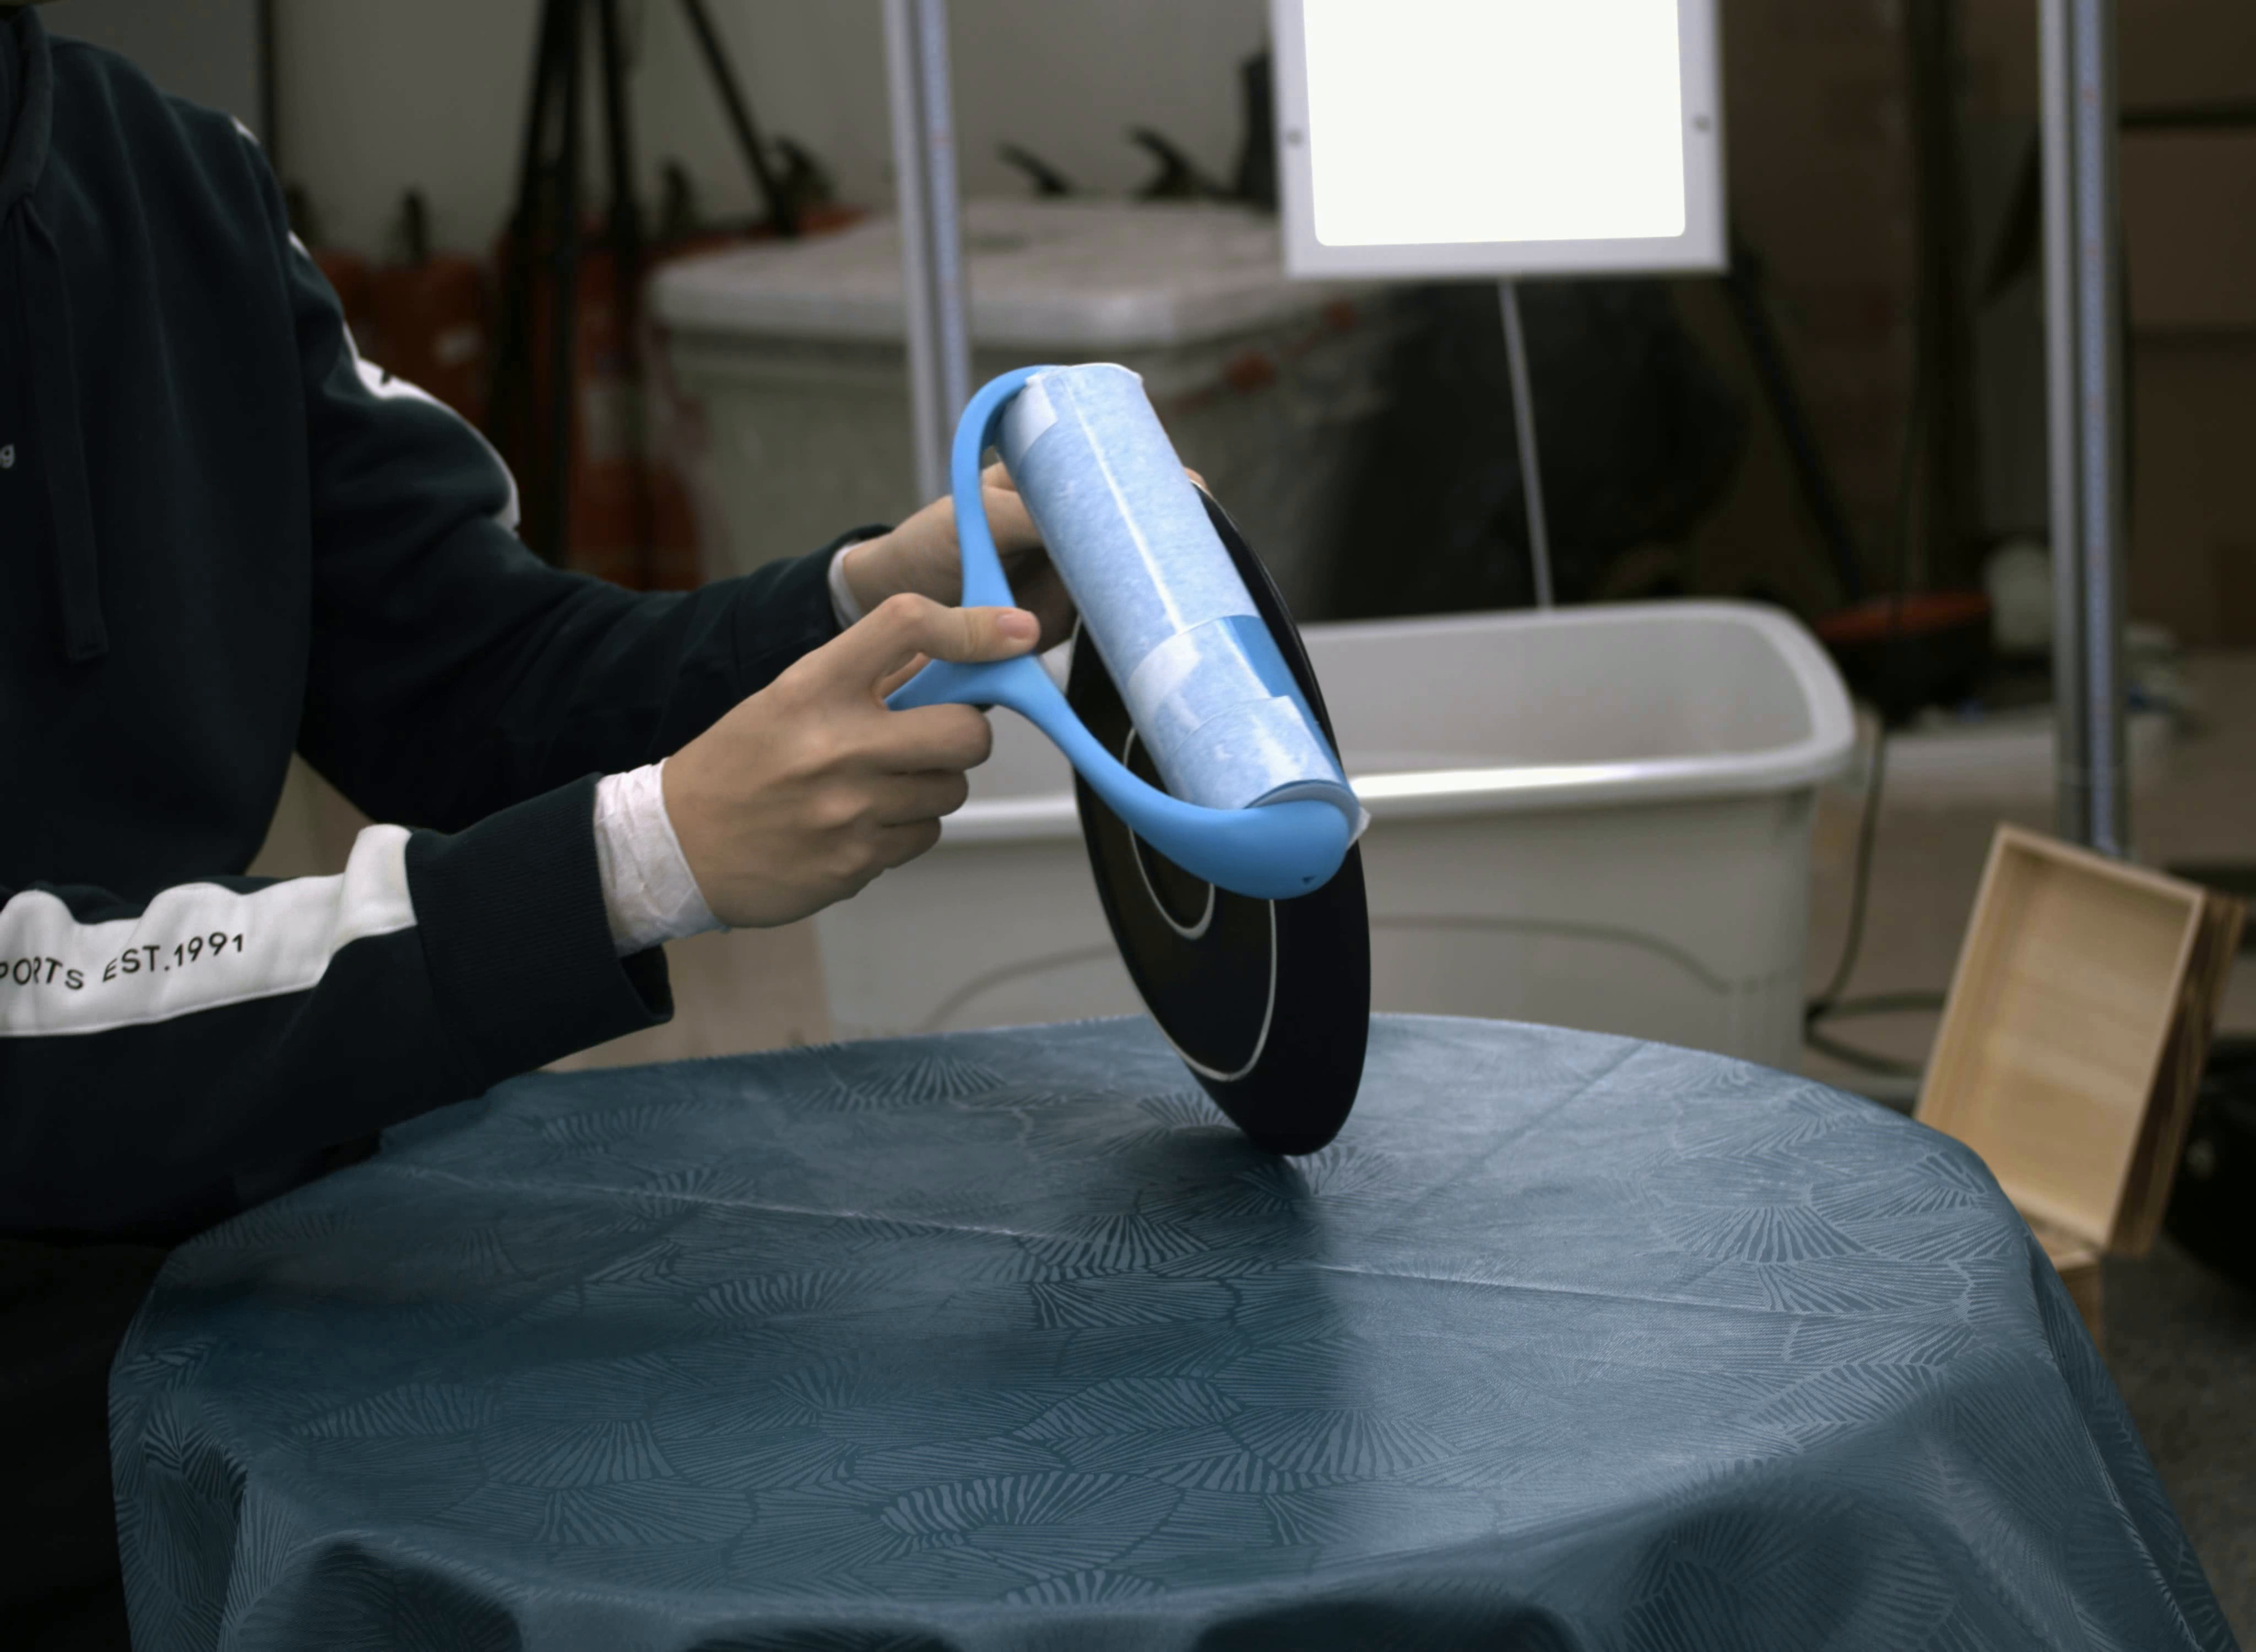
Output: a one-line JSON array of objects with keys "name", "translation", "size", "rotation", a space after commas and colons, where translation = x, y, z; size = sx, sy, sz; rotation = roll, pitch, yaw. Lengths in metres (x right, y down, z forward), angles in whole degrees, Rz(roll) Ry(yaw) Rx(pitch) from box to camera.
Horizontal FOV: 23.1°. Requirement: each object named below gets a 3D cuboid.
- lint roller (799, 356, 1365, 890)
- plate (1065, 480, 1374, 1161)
[{"name": "lint roller", "translation": [-0.036, -0.040, 1.798], "size": [0.180, 0.067, 0.231], "rotation": [-32, 55, 2]}, {"name": "plate", "translation": [0.023, -0.001, 1.901], "size": [0.023, 0.245, 0.248], "rotation": [-13, 16, -20]}]
